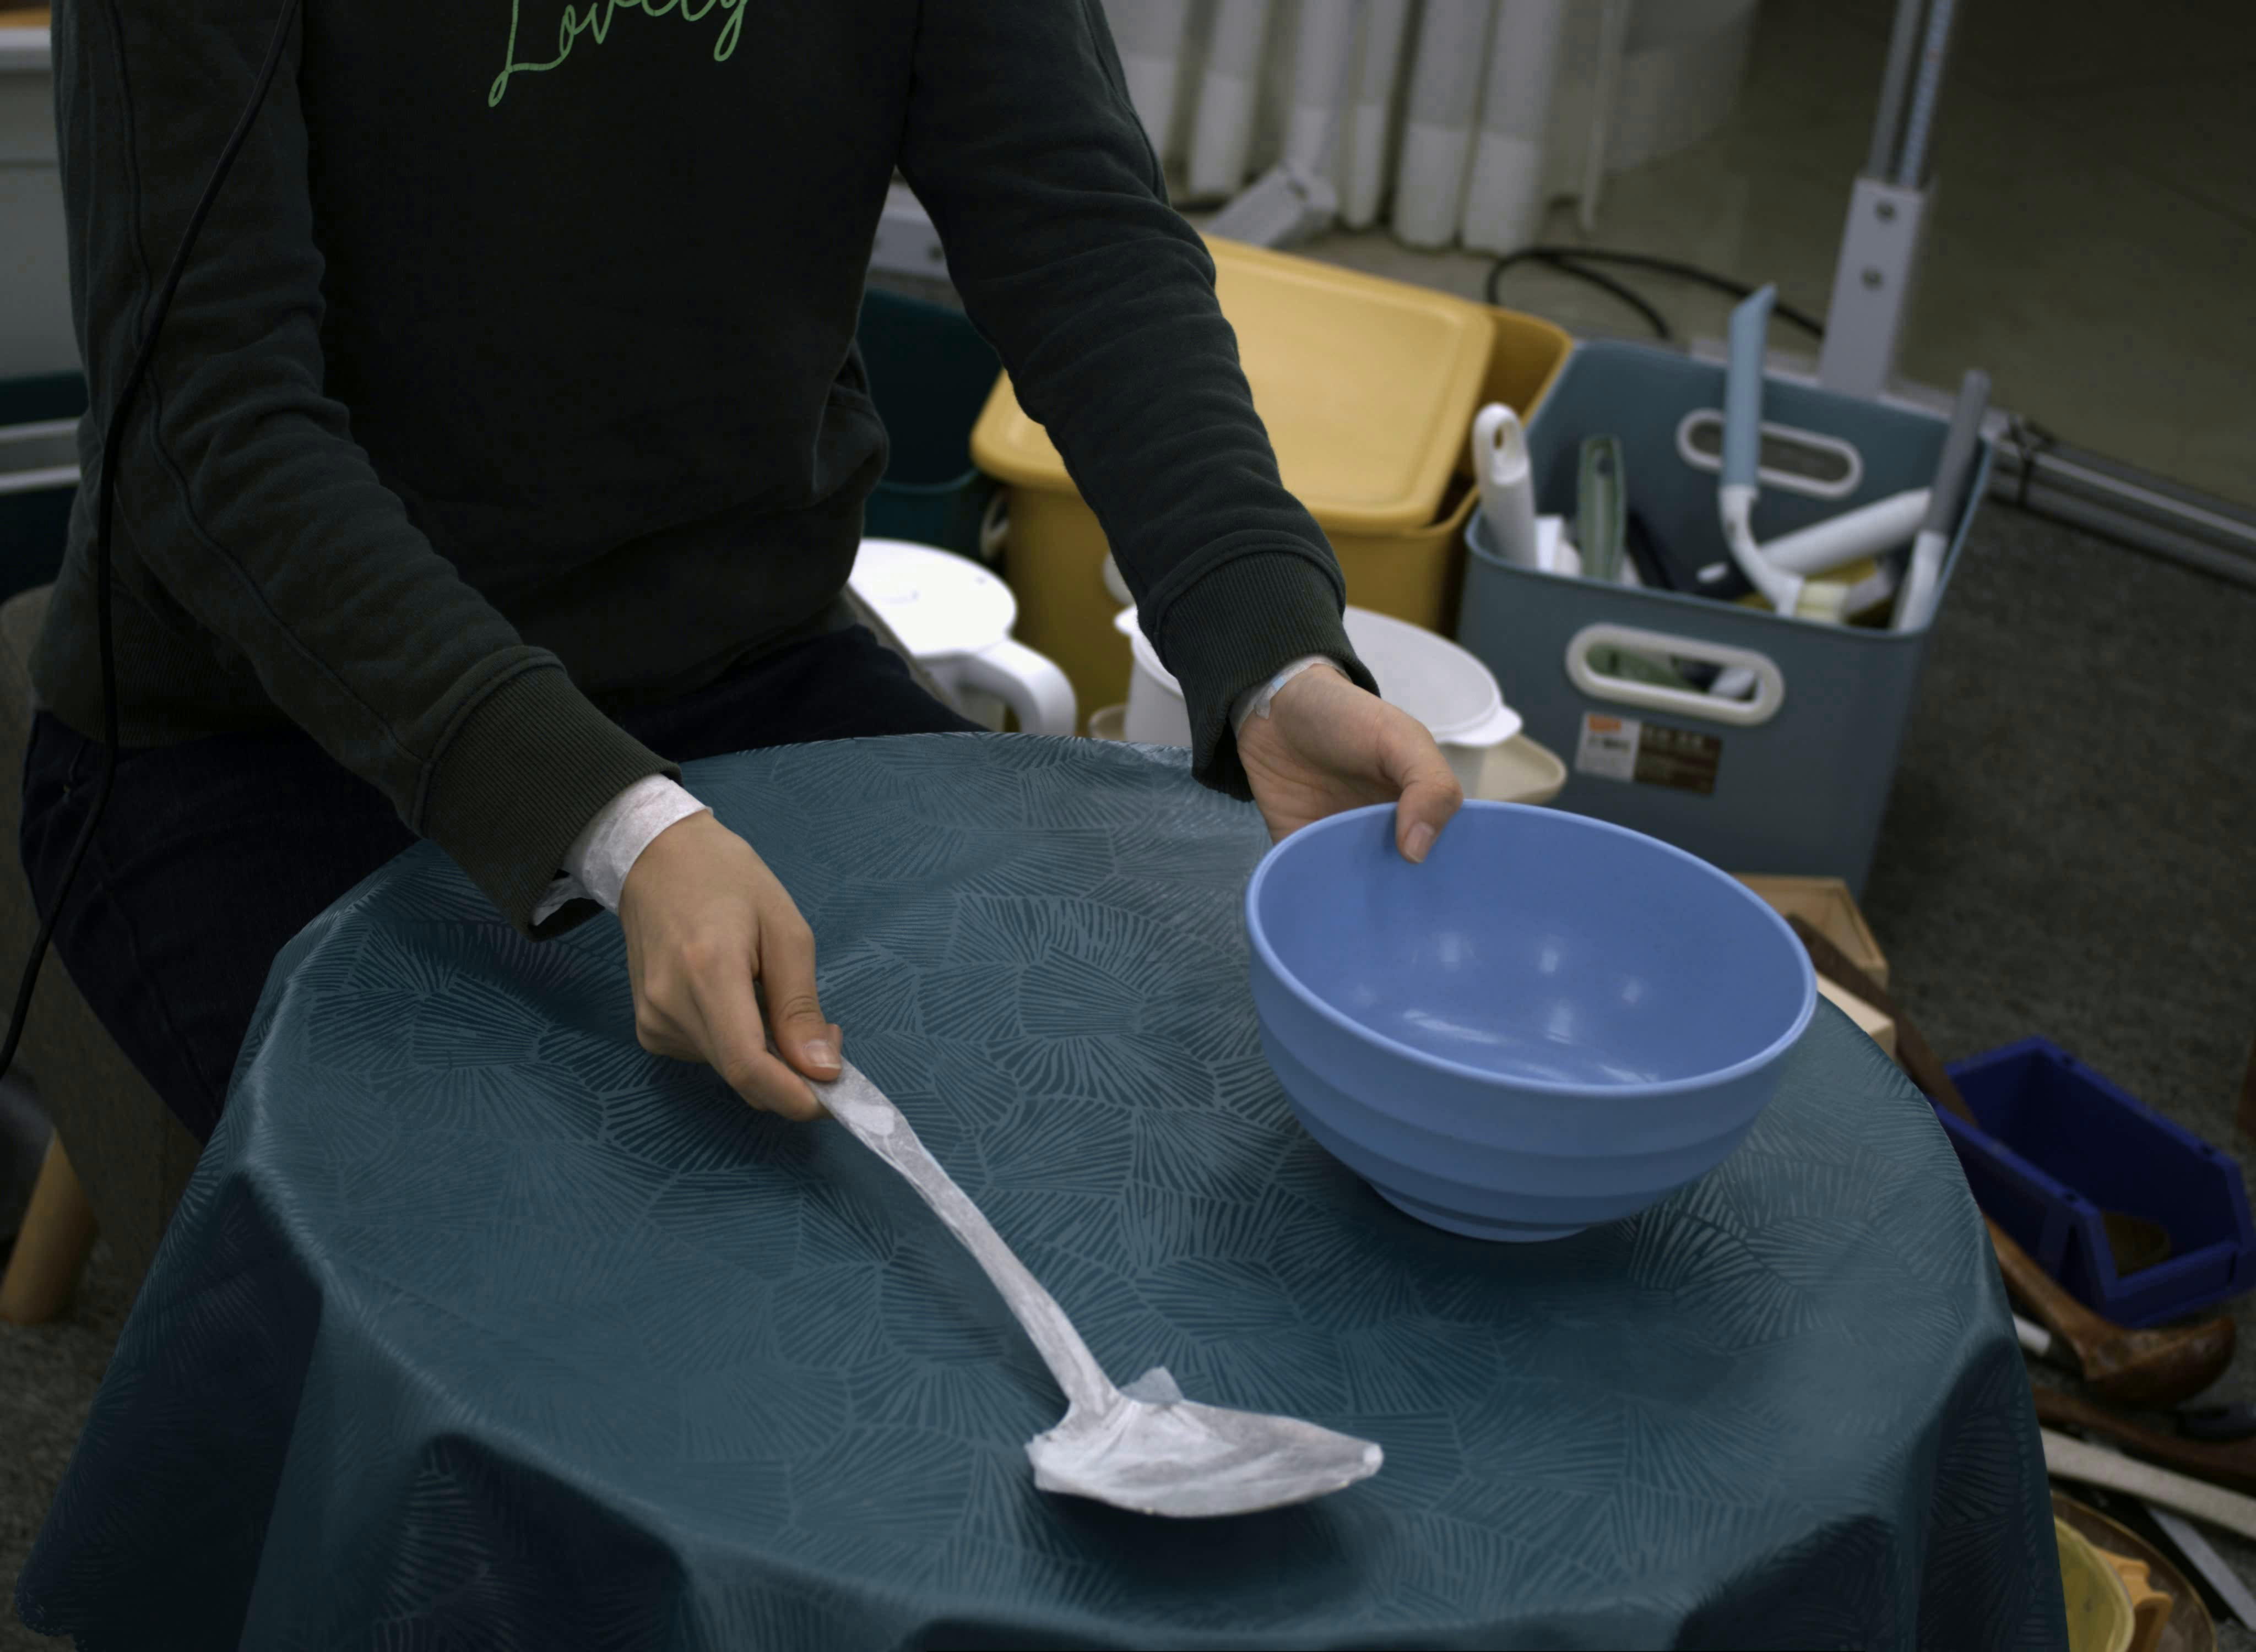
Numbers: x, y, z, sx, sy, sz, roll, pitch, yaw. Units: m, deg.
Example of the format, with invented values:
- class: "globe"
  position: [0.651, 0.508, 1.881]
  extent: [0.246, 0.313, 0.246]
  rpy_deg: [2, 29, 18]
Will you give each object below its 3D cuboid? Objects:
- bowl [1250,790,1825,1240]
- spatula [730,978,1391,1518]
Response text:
- class: "bowl"
  position: [0.131, 0.077, 1.812]
  extent: [0.196, 0.095, 0.198]
  rpy_deg: [7, 29, -4]
- class: "spatula"
  position: [-0.046, 0.128, 1.723]
  extent: [0.098, 0.044, 0.368]
  rpy_deg: [-9, 35, -30]
